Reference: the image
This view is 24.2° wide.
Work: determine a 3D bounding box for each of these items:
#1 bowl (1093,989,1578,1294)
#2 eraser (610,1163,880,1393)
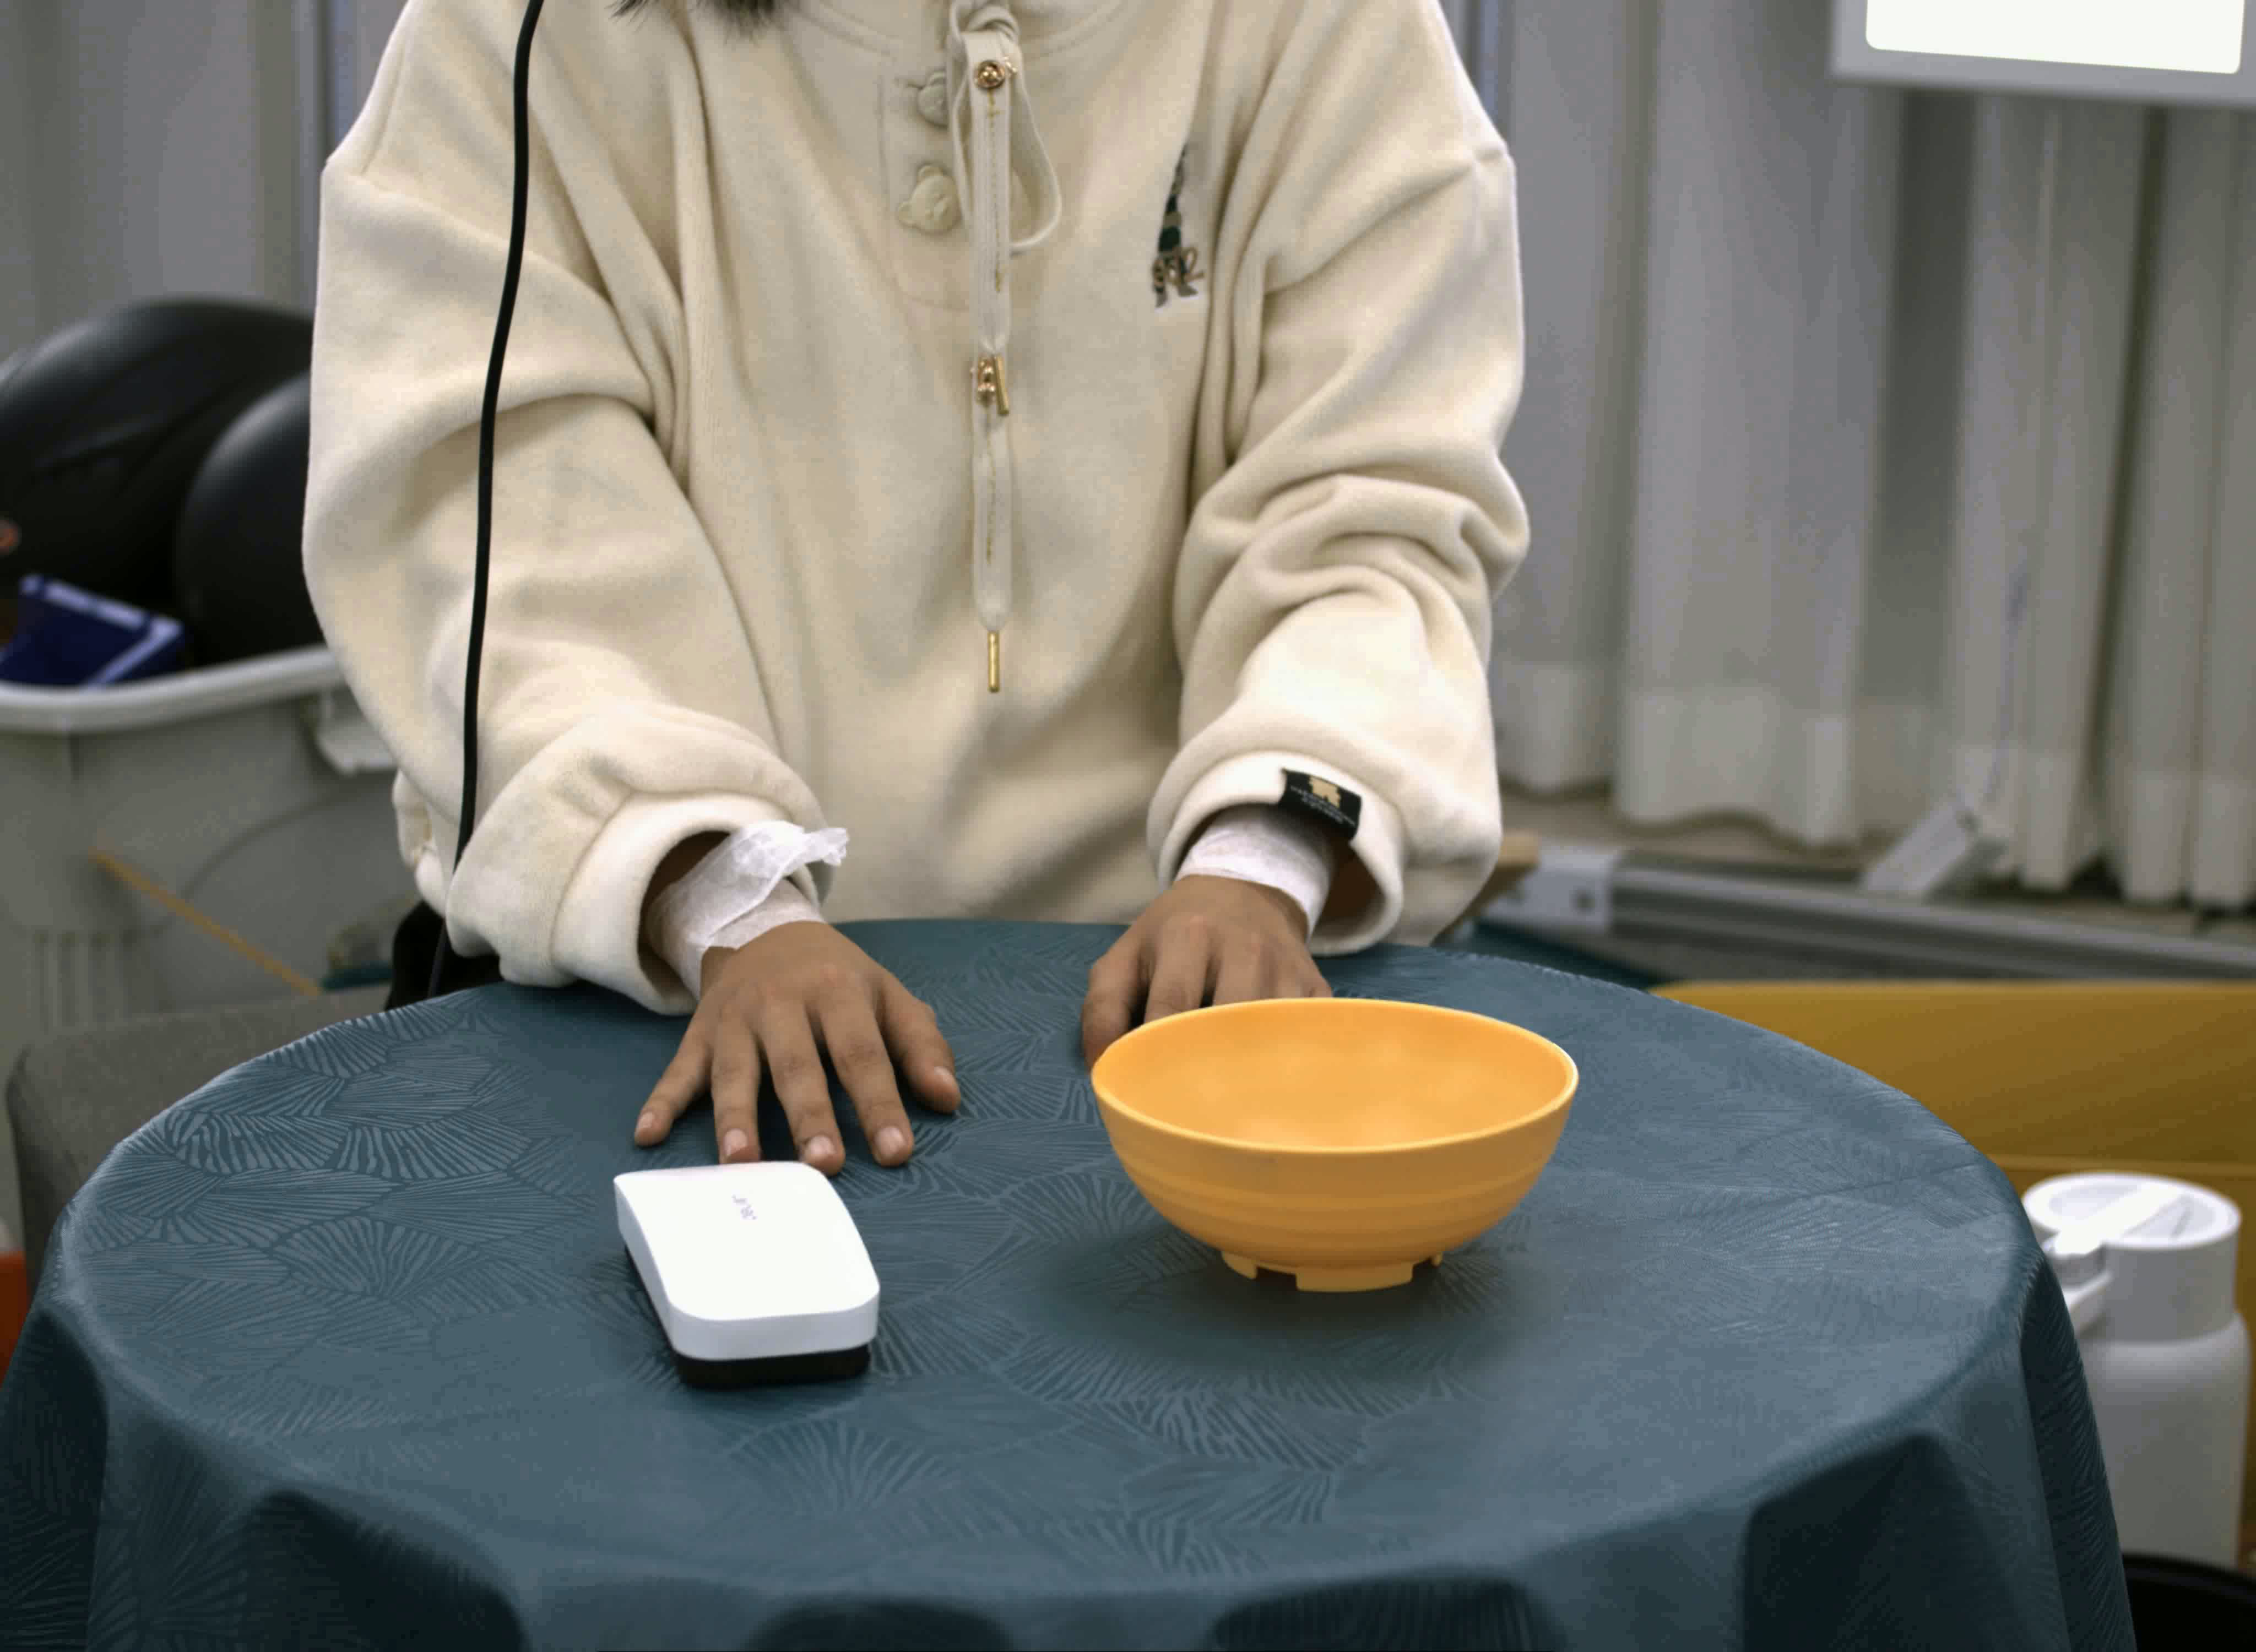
[{"bbox_3d":[0.062,0.099,1.561,0.145,0.060,0.144,0,18,0],"label":"bowl"},{"bbox_3d":[-0.110,0.125,1.514,0.063,0.035,0.130,-2,16,-14],"label":"eraser"}]
